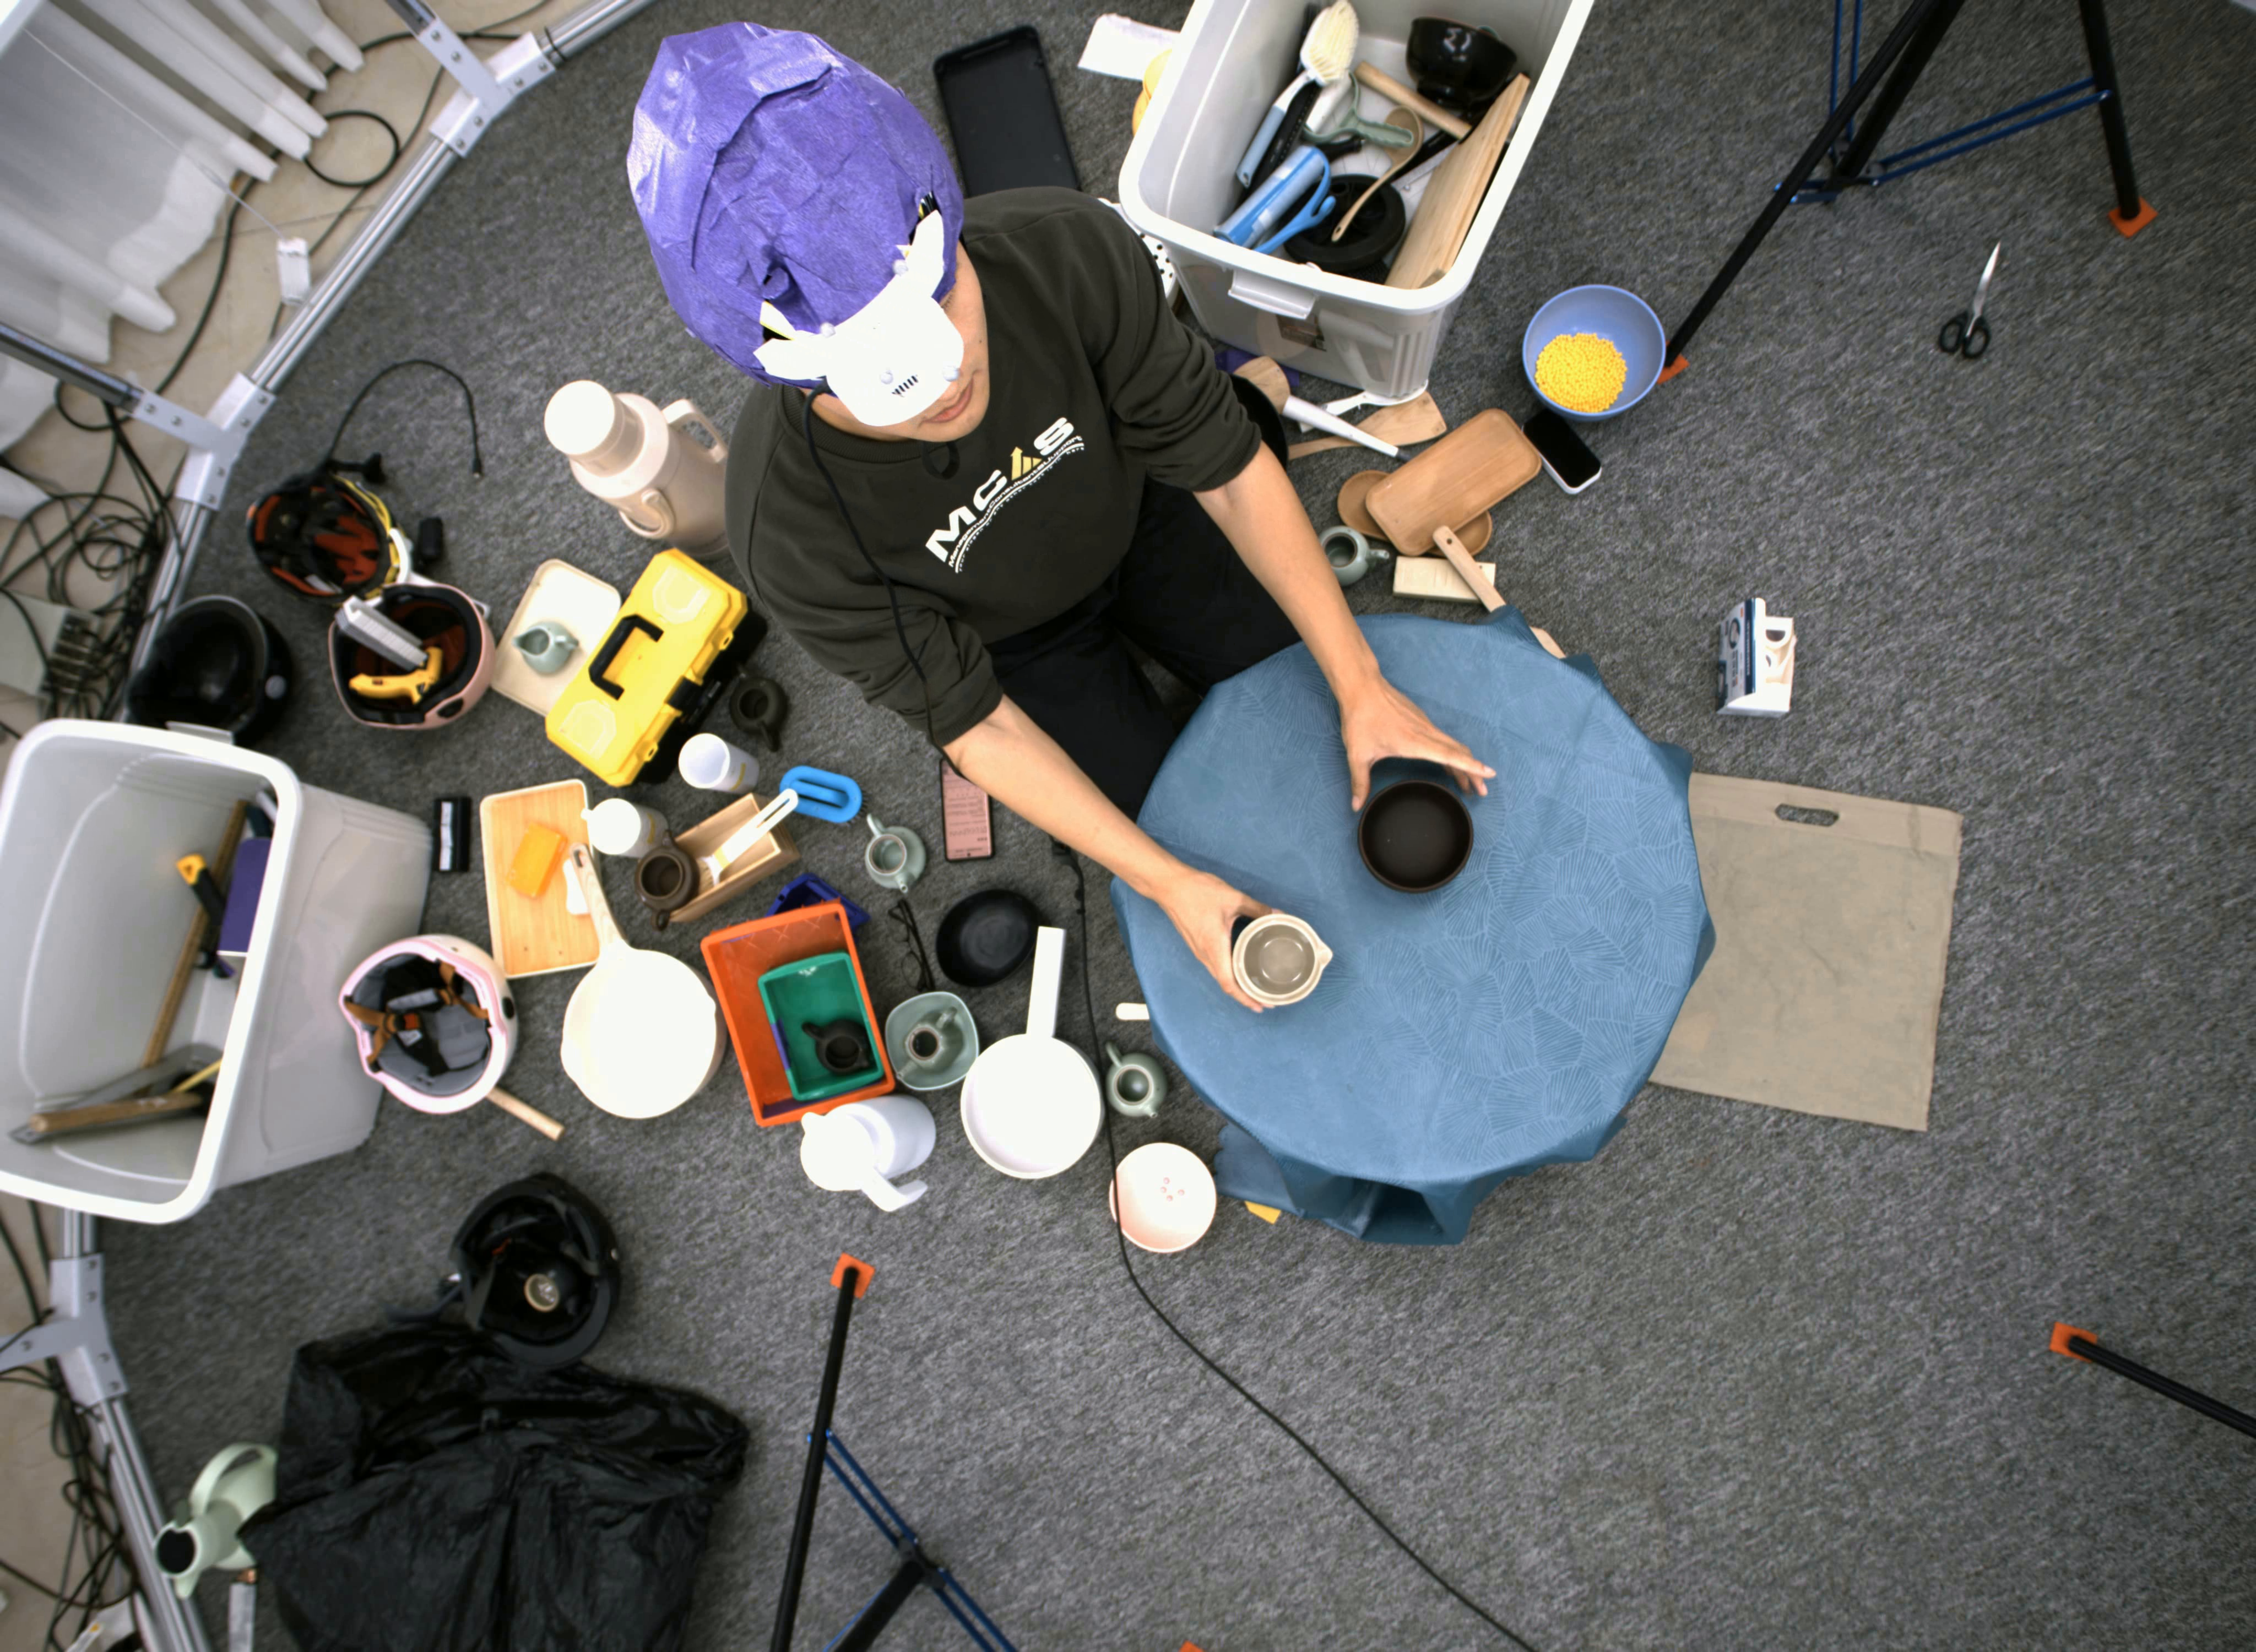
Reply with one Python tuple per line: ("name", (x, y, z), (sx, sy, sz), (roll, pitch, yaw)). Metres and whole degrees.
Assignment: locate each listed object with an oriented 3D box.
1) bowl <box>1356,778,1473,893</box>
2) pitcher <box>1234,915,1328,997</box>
("bowl", (0.295, 0.010, 1.422), (0.118, 0.070, 0.117), (-1, 88, 10))
("pitcher", (0.161, 0.135, 1.438), (0.096, 0.071, 0.083), (-1, 84, 11))
